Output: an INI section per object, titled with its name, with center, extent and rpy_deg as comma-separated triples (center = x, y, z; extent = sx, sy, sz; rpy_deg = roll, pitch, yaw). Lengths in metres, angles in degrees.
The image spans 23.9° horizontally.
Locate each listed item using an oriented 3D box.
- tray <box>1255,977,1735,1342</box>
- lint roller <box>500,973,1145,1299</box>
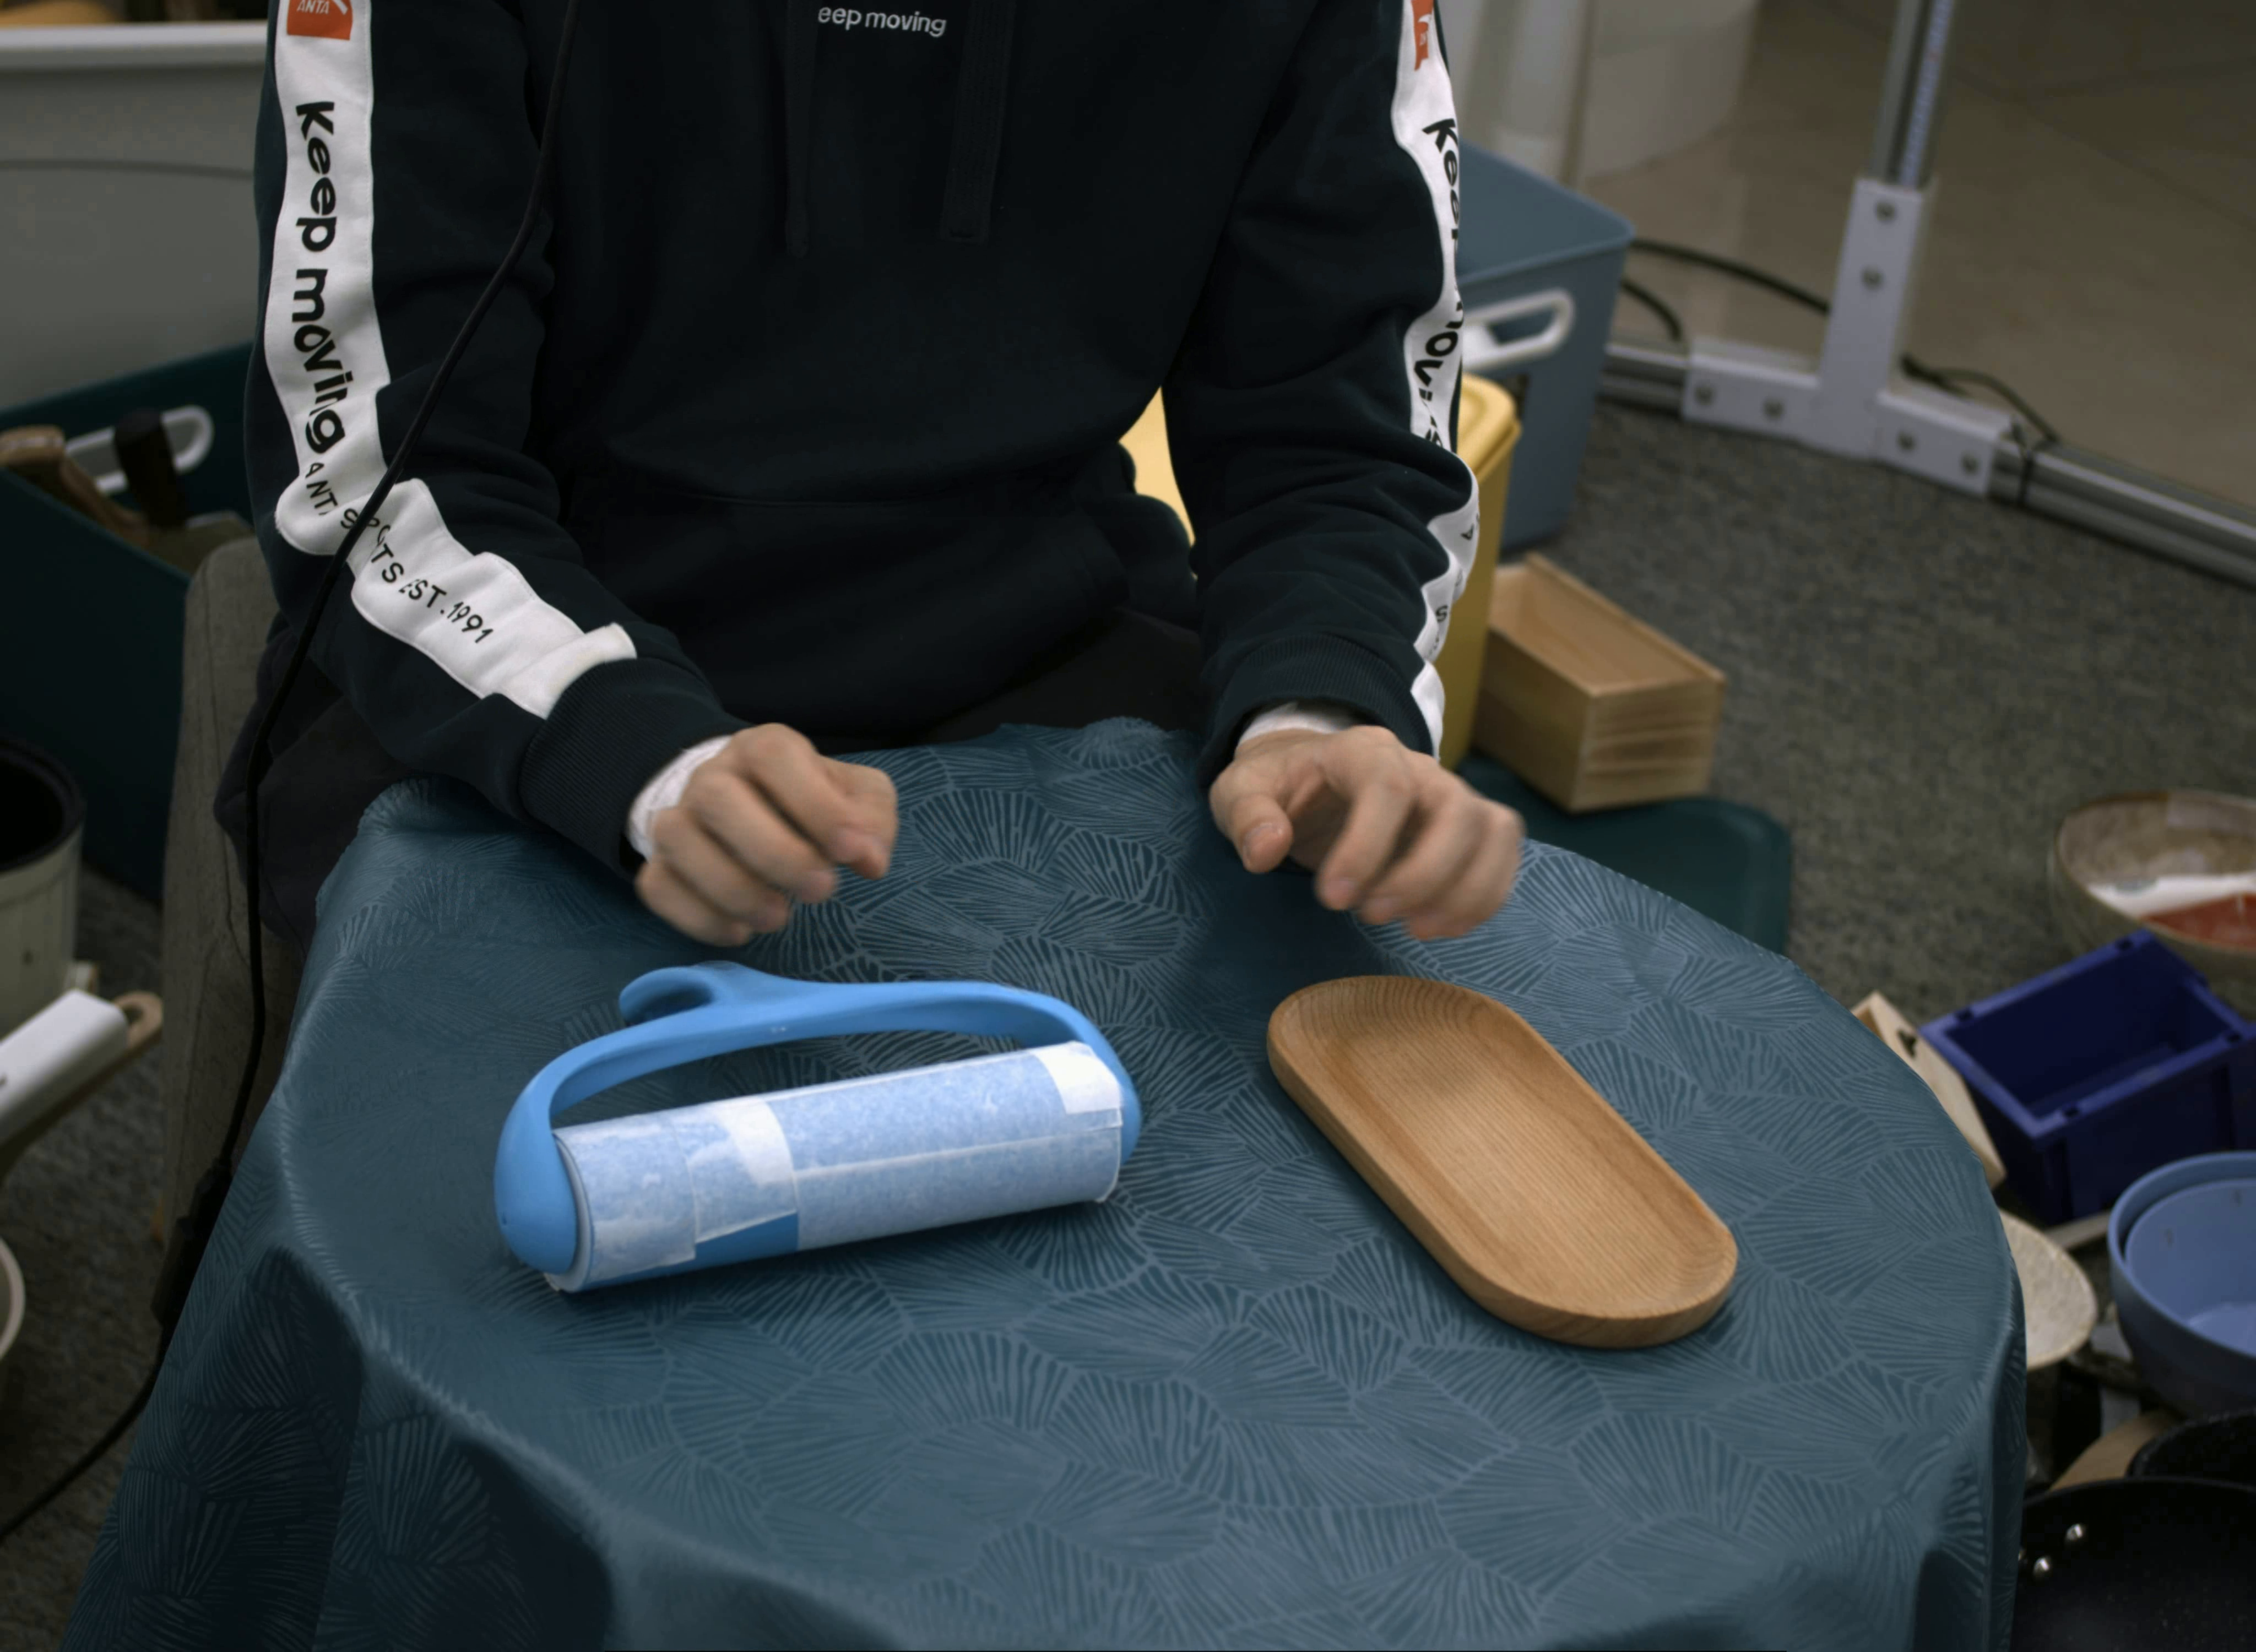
[tray]
center = 0.123, 0.112, 1.831
extent = 0.101, 0.020, 0.233
rpy_deg = -6, 28, -26
[lint roller]
center = -0.127, 0.084, 1.785
extent = 0.227, 0.067, 0.182
rpy_deg = -11, 32, -28
